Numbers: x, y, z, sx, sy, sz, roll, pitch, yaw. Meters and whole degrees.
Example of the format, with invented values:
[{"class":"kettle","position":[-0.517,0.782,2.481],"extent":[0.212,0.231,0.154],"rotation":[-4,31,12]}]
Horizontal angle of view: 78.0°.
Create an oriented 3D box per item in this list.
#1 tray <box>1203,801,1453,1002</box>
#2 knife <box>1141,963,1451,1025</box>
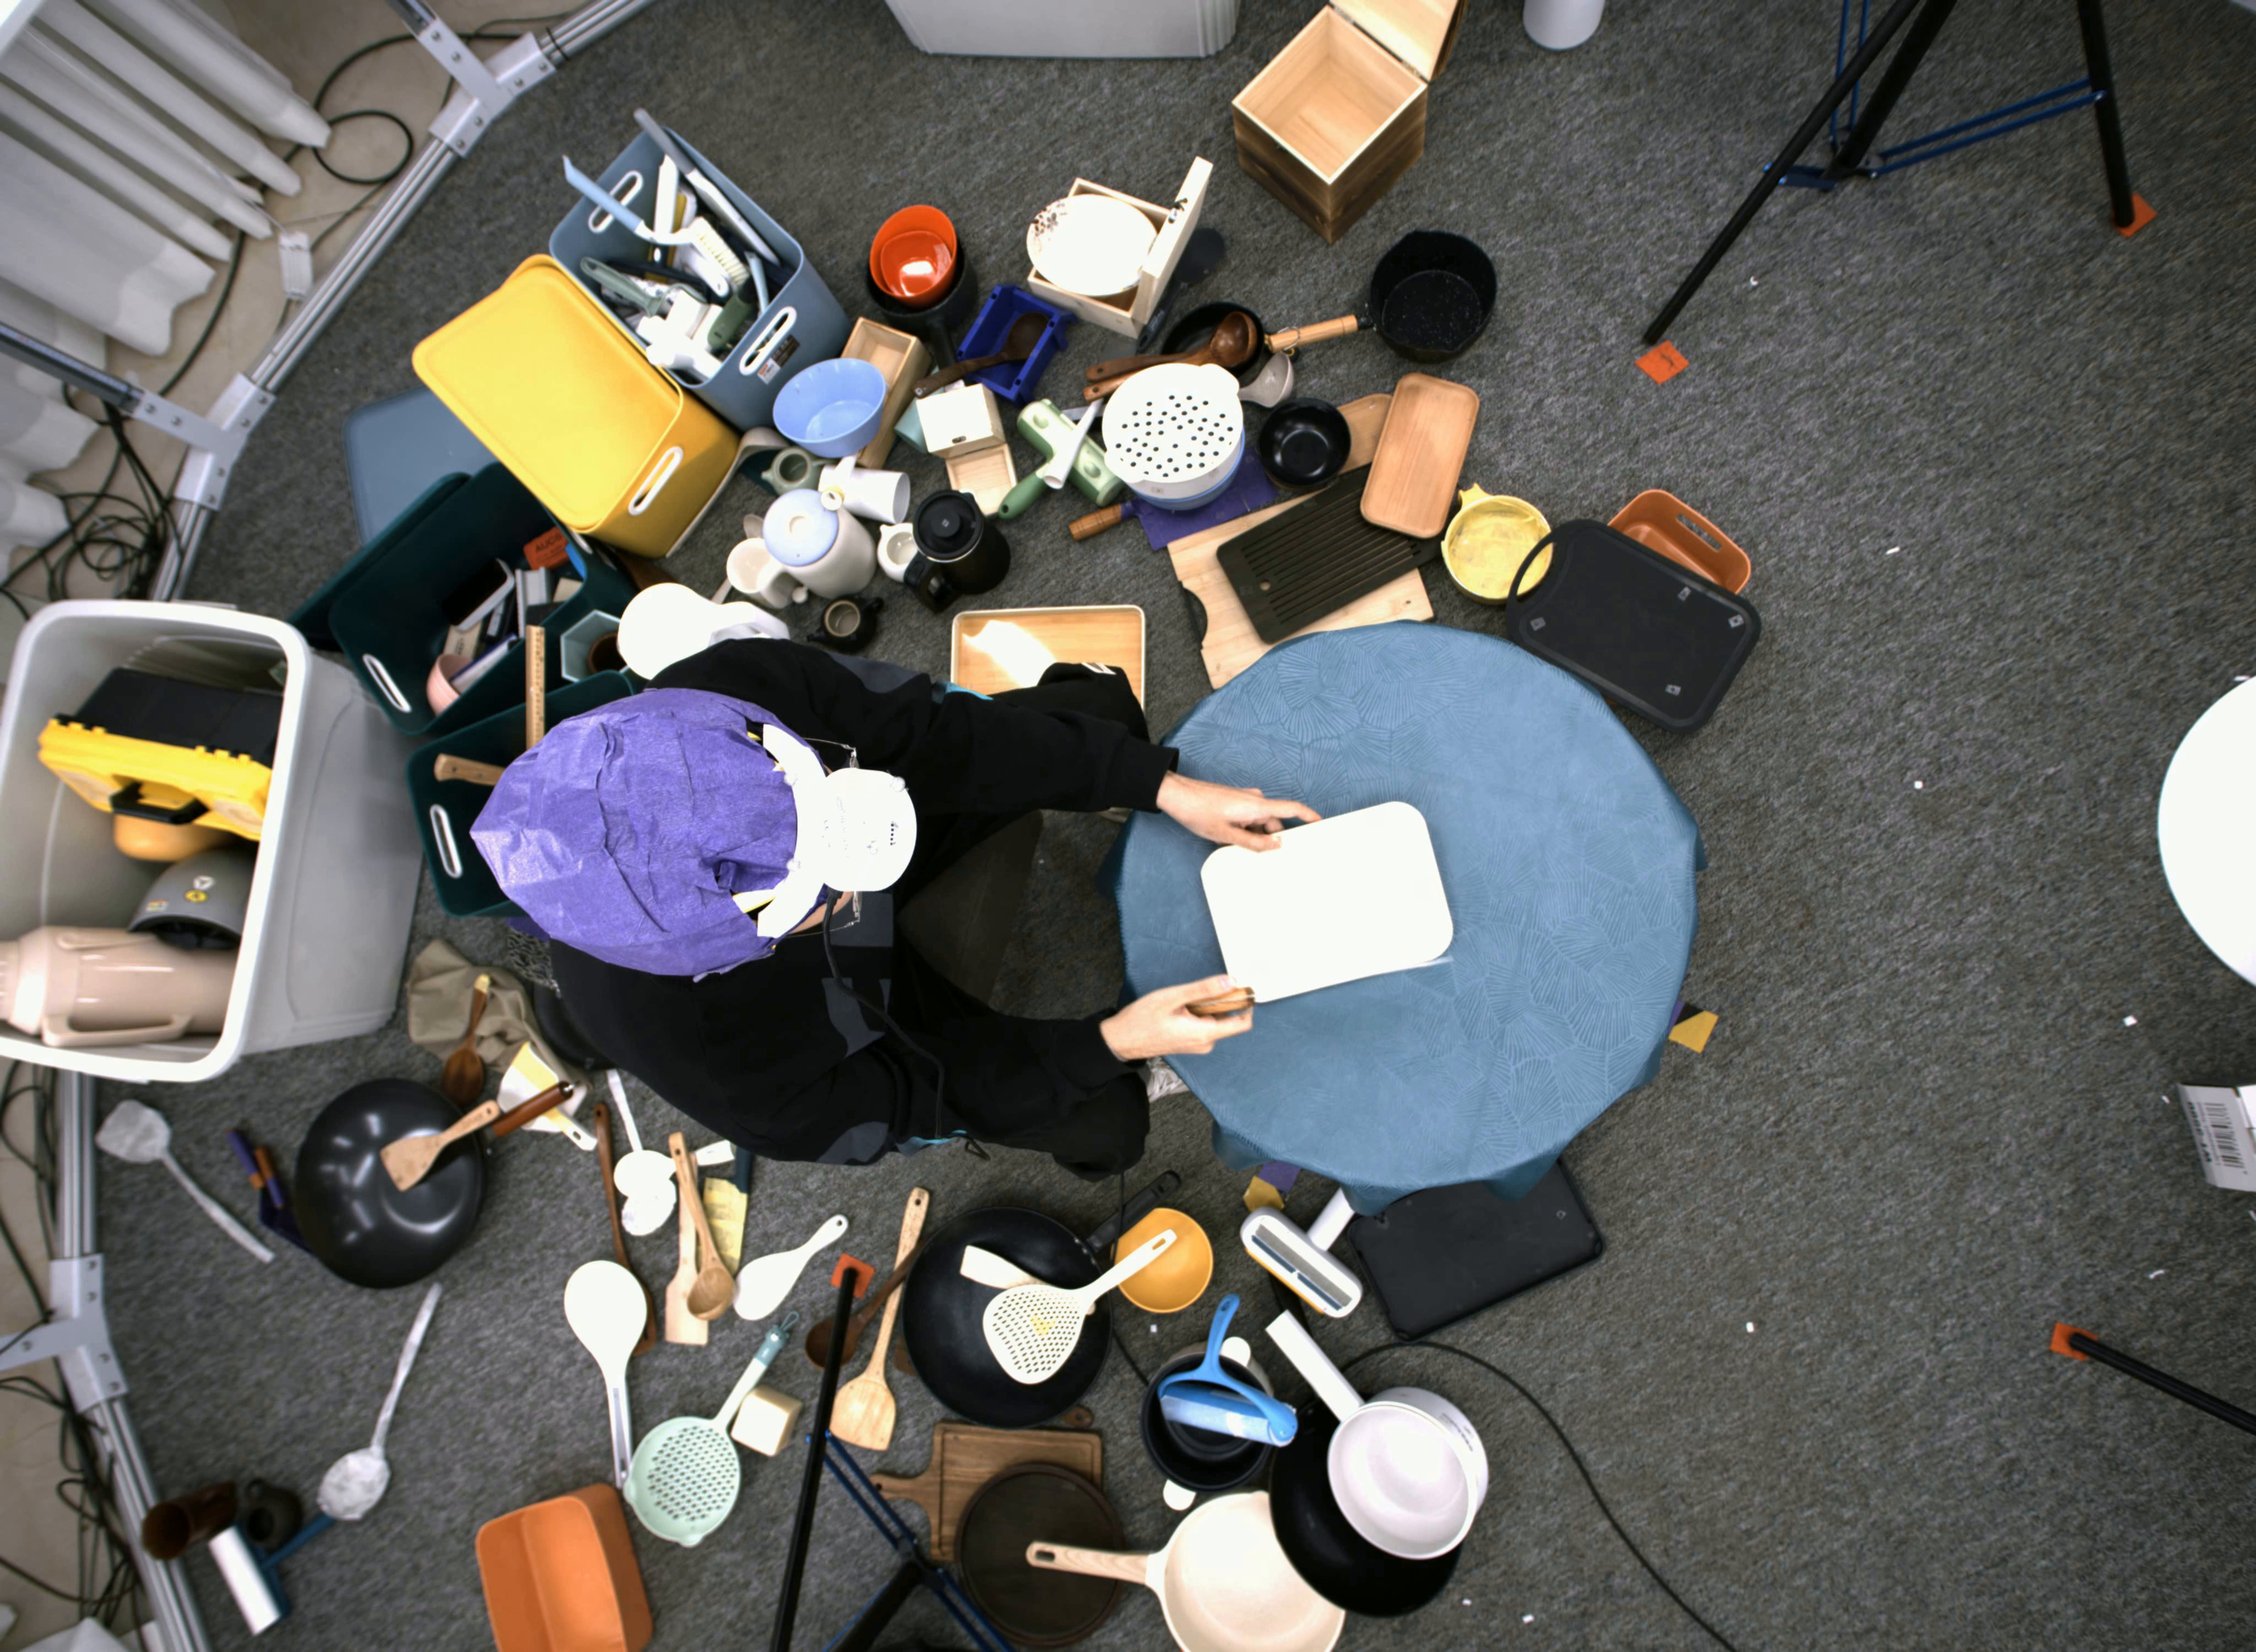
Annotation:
[{"class":"tray","position":[0.208,0.078,1.447],"extent":[0.241,0.017,0.172],"rotation":[-15,96,8]},{"class":"knife","position":[0.163,0.161,1.358],"extent":[0.309,0.092,0.021],"rotation":[-13,82,26]}]
